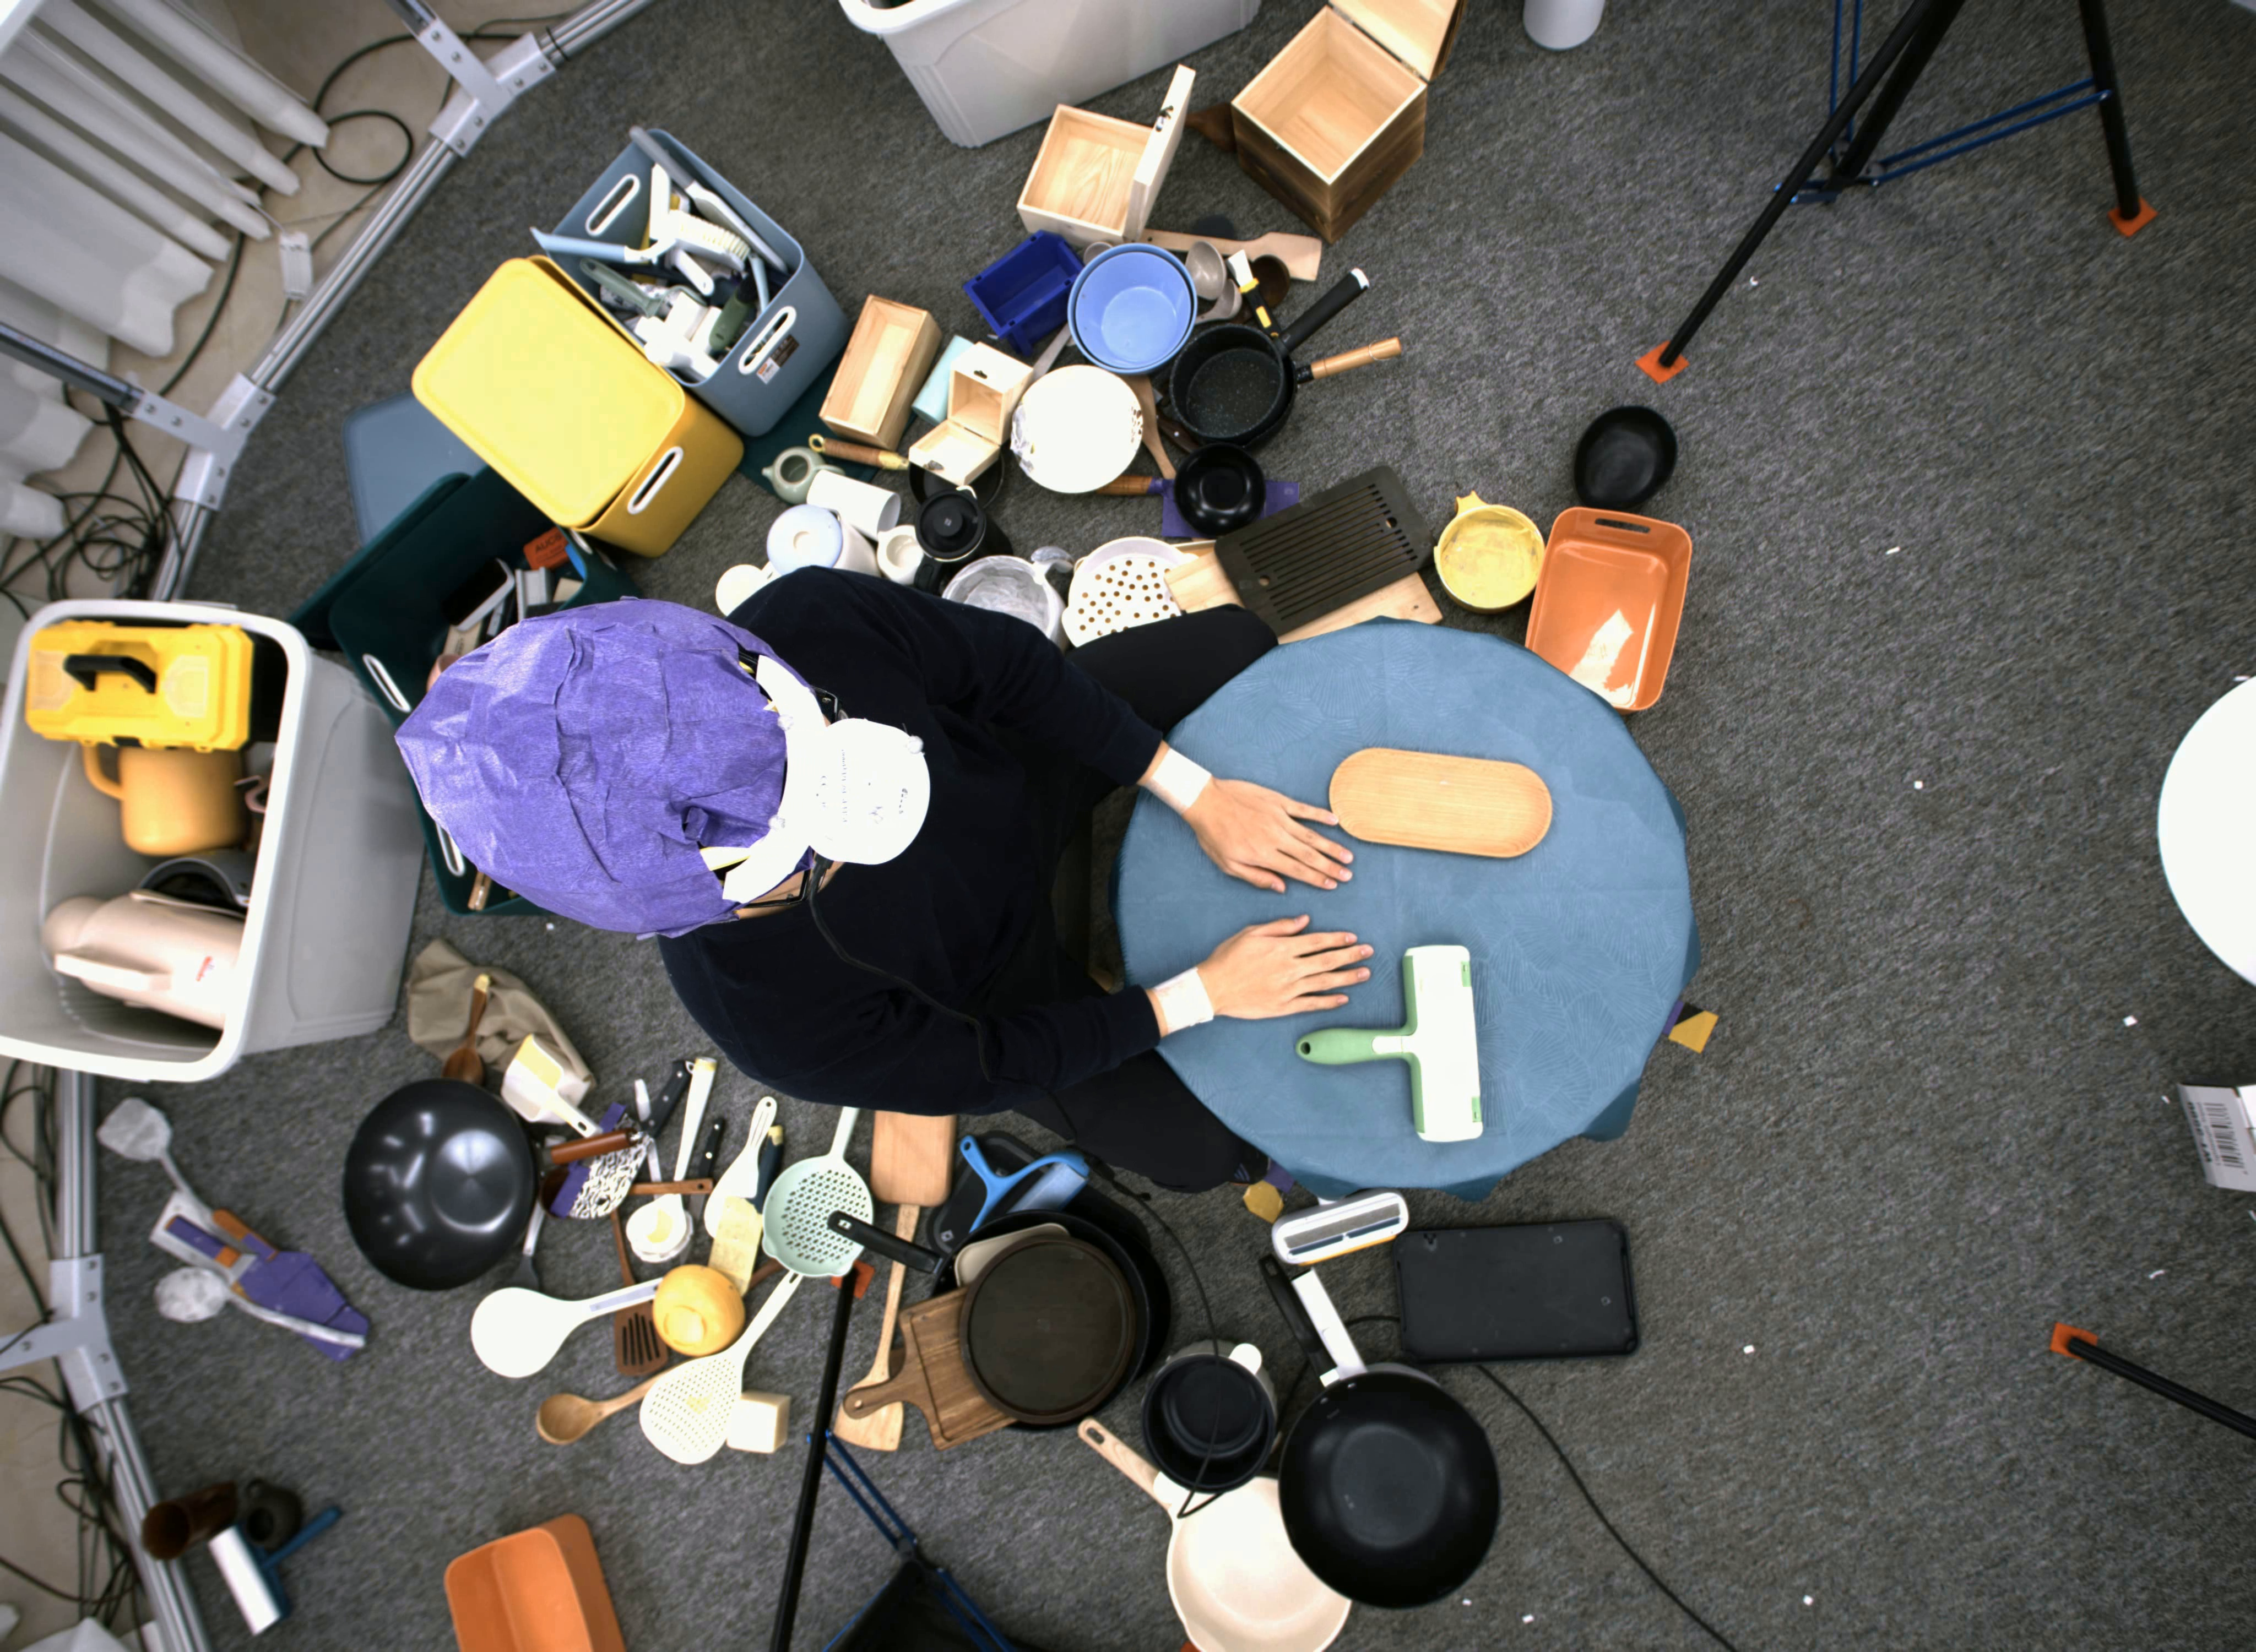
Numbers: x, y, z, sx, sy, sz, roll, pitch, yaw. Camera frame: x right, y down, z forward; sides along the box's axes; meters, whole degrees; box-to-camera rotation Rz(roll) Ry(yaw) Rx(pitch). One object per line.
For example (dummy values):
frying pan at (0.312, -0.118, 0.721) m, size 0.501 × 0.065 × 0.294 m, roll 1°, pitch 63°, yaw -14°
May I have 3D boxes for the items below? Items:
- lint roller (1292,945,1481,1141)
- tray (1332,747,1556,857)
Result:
lint roller at (0.260, 0.222, 1.409) m, size 0.184 × 0.082 × 0.197 m, roll -4°, pitch 85°, yaw 4°
tray at (0.331, -0.027, 1.446) m, size 0.232 × 0.020 × 0.101 m, roll 7°, pitch 89°, yaw 9°
